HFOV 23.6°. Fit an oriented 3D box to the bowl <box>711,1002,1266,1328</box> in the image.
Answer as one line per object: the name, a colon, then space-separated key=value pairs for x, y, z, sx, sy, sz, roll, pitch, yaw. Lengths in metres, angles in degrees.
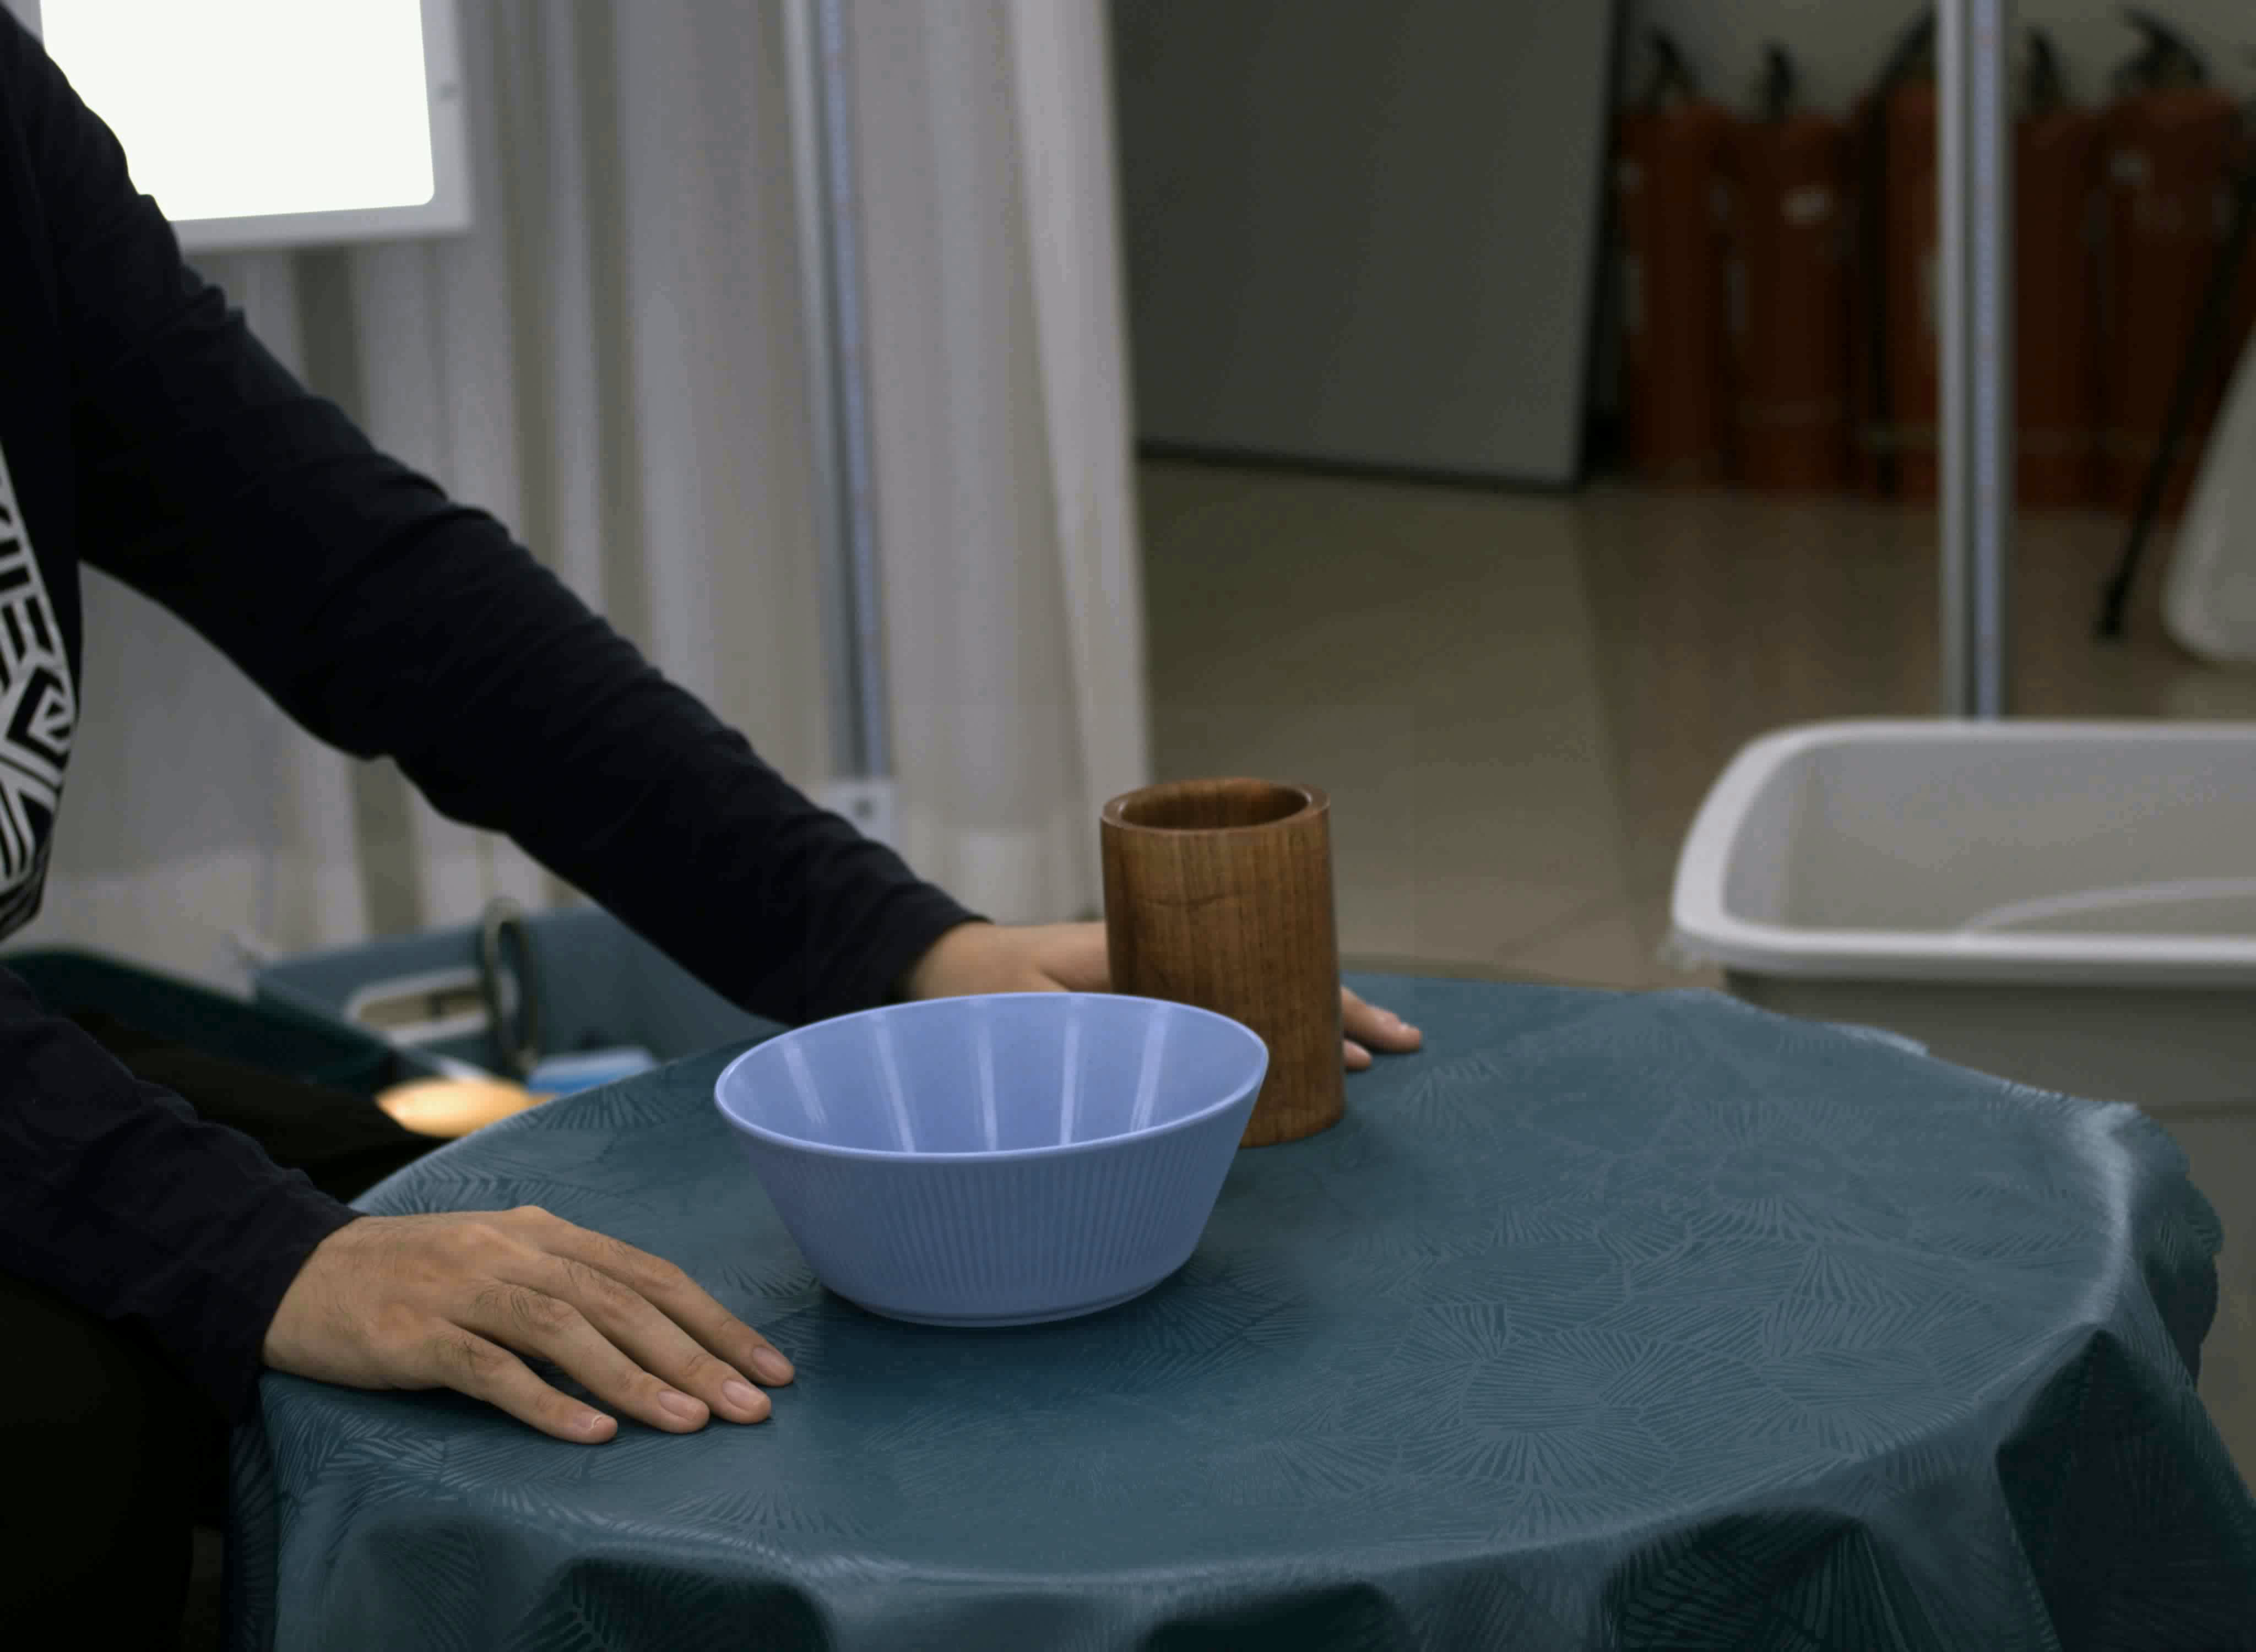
bowl: x=-0.041 y=0.108 z=1.693 sx=0.174 sy=0.071 sz=0.176 roll=-4 pitch=13 yaw=0

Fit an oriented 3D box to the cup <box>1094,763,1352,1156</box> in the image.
cup: x=0.033 y=0.045 z=1.832 sx=0.086 sy=0.120 sz=0.088 roll=-5 pitch=11 yaw=0
